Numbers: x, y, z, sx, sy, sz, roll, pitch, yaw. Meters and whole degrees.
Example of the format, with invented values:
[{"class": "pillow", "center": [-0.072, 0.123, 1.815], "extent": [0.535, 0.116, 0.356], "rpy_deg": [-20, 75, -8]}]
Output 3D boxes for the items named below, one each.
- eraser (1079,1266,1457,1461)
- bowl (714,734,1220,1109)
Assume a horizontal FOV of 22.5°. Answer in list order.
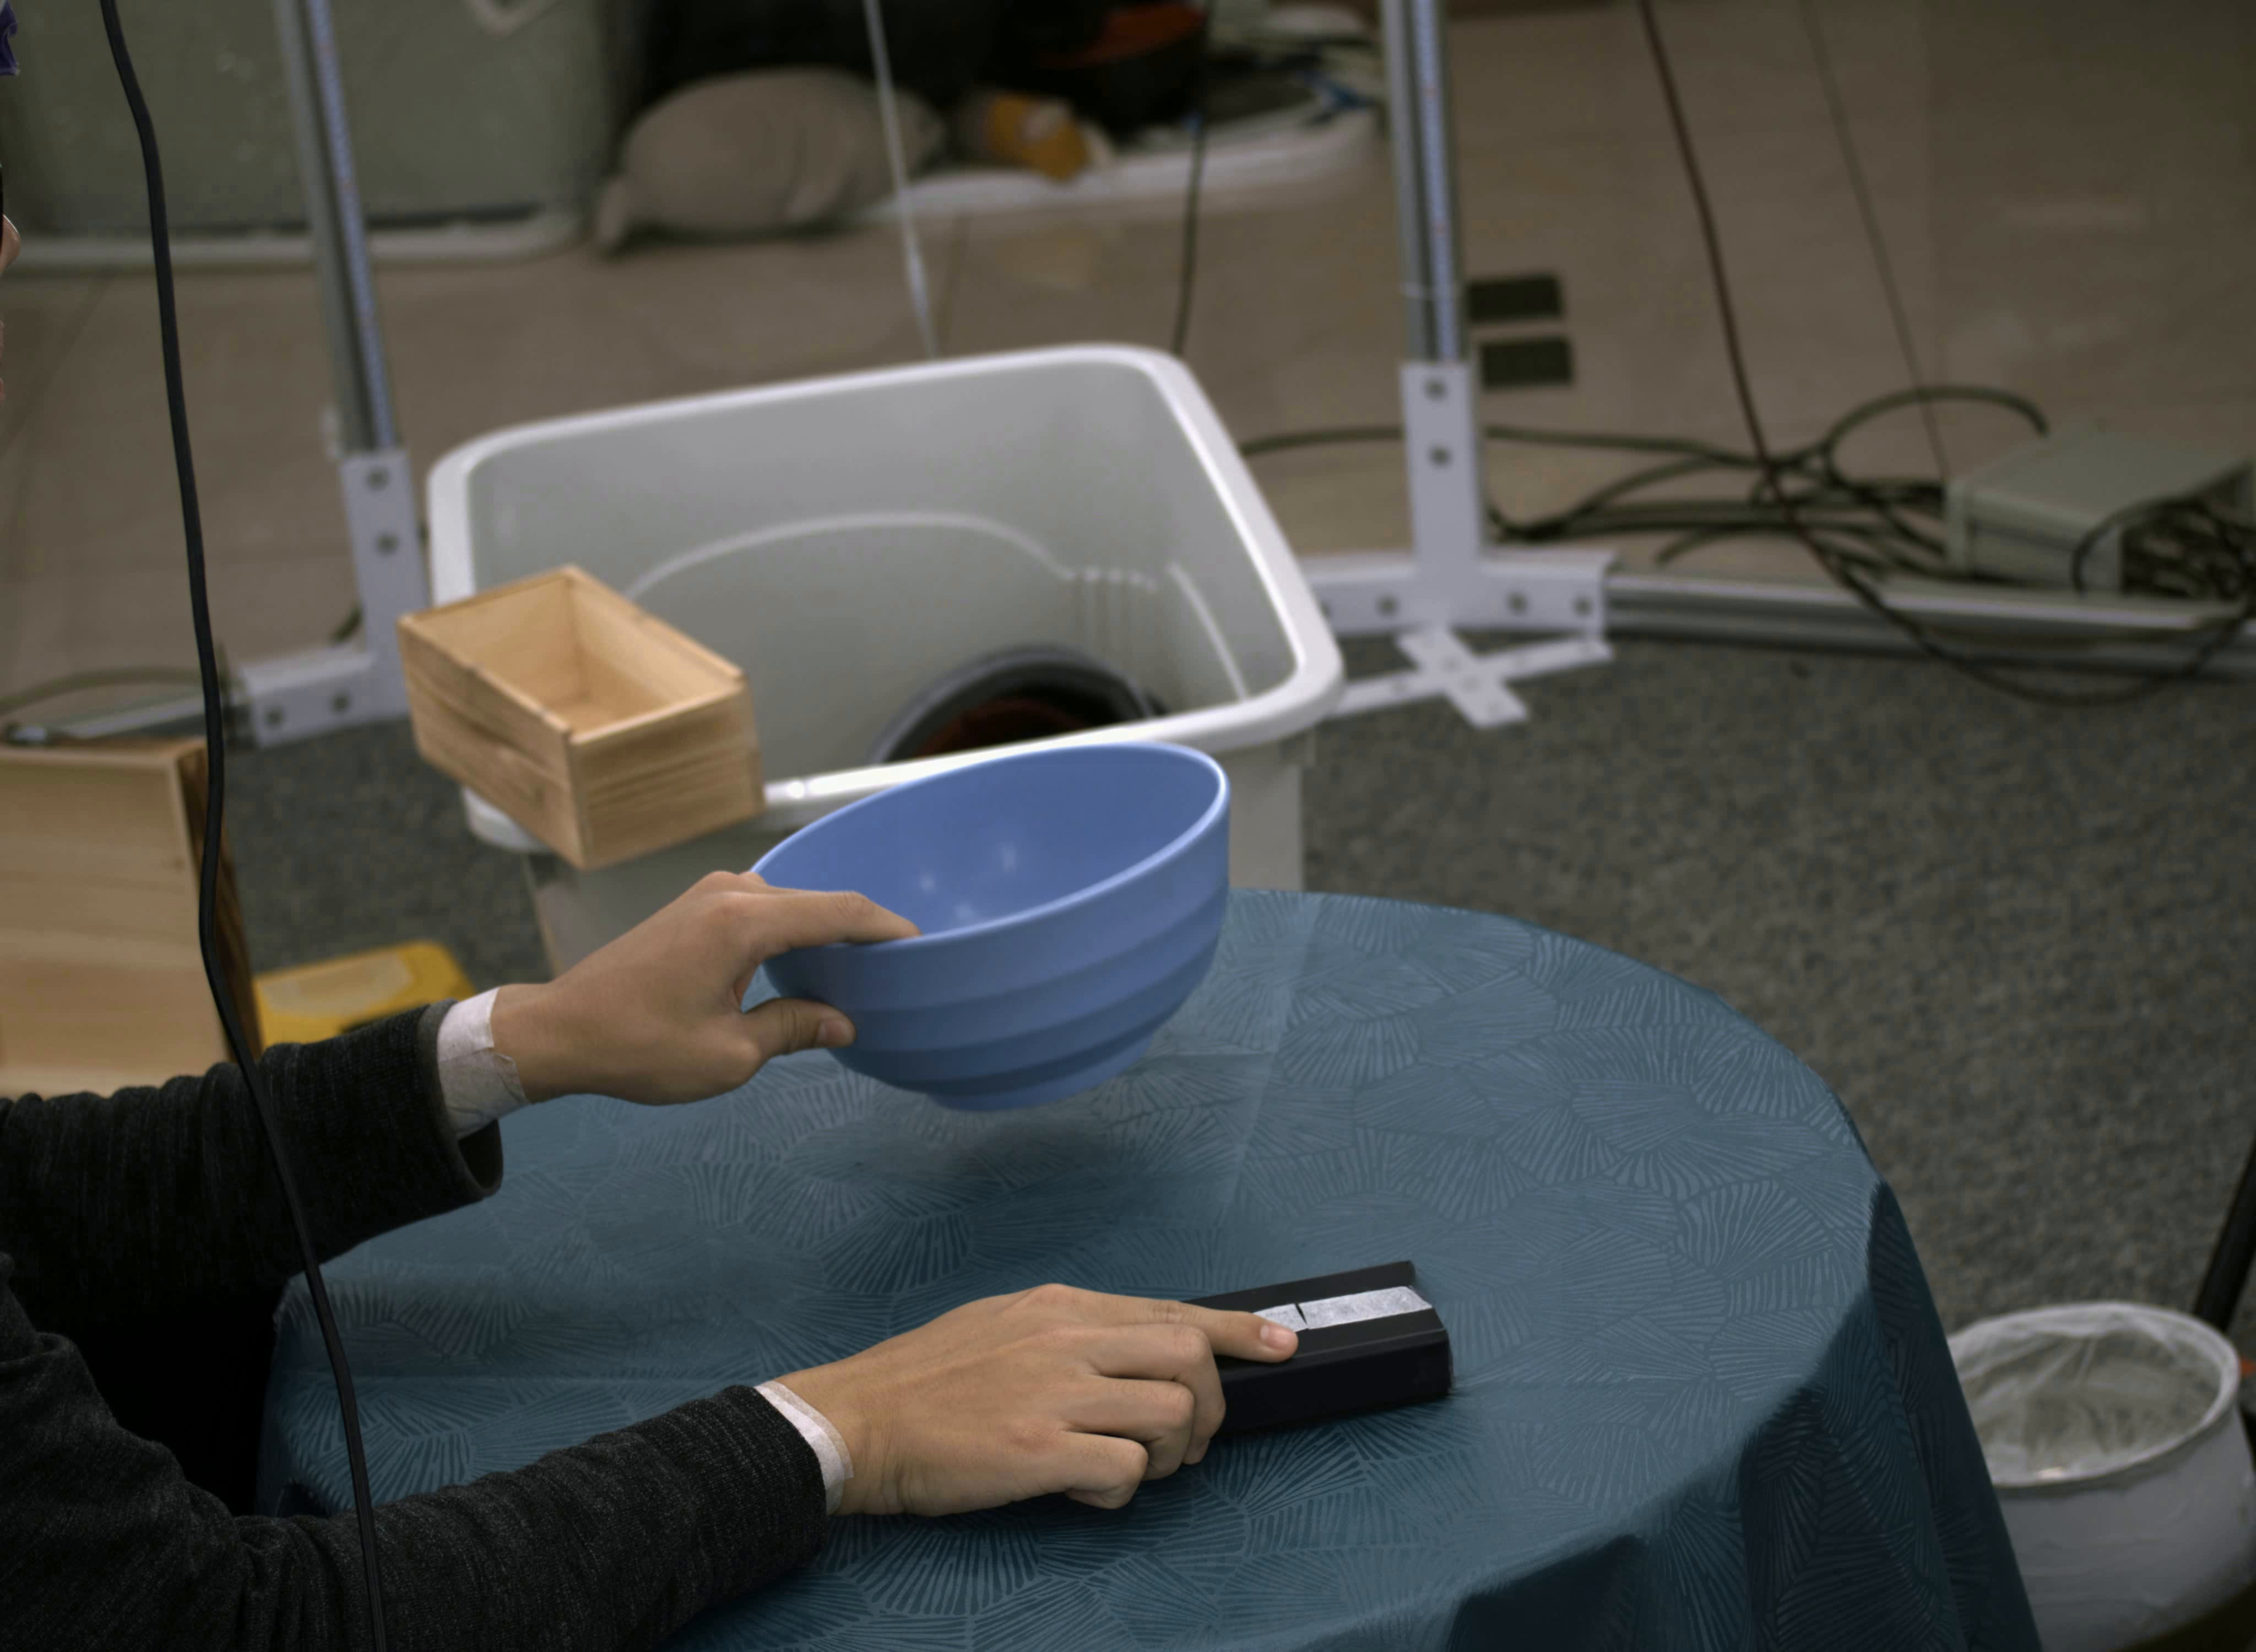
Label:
[{"class": "eraser", "center": [0.049, 0.187, 1.989], "extent": [0.125, 0.031, 0.053], "rpy_deg": [-10, 30, -13]}, {"class": "bowl", "center": [-0.054, 0.046, 2.177], "extent": [0.196, 0.097, 0.193], "rpy_deg": [-9, 24, 4]}]
